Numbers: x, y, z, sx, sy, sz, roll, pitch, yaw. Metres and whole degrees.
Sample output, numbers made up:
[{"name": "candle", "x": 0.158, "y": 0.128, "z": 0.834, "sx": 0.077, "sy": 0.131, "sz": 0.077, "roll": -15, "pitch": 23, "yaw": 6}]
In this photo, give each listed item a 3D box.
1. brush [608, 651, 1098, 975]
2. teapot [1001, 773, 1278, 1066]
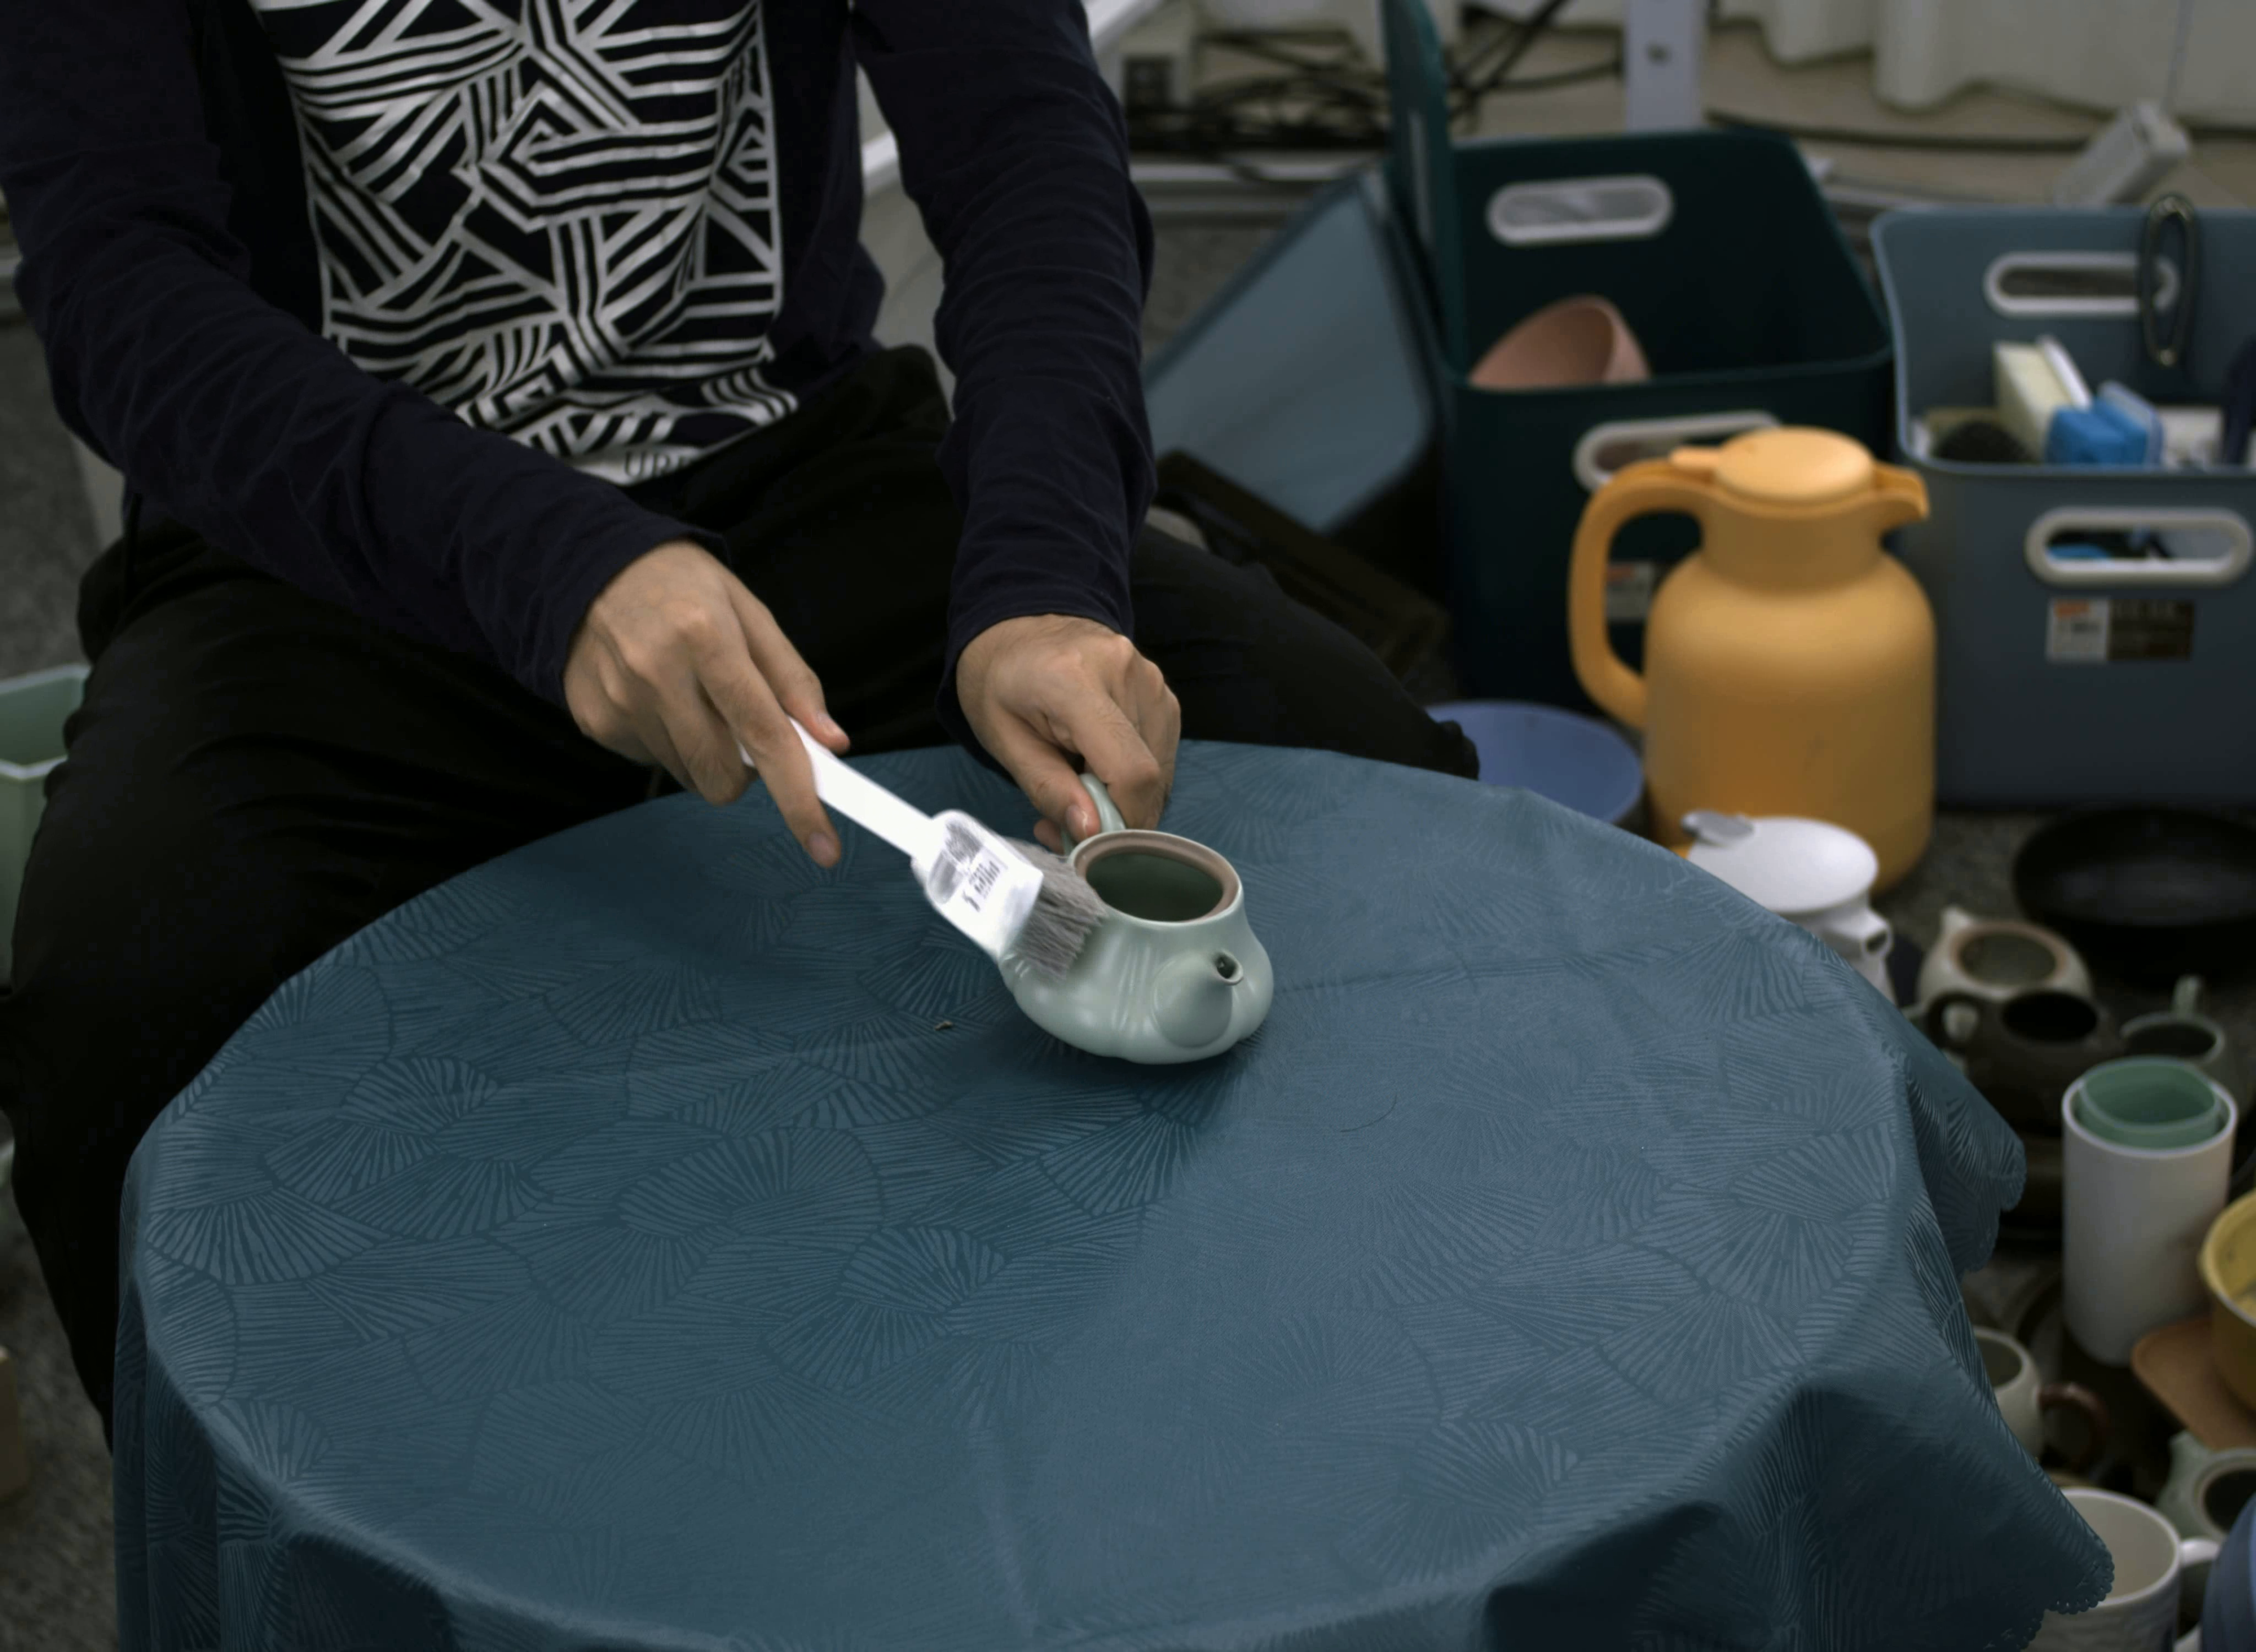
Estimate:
[{"name": "brush", "x": -0.096, "y": -0.007, "z": 1.970, "sx": 0.050, "sy": 0.034, "sz": 0.244, "roll": 18, "pitch": 9, "yaw": -46}, {"name": "teapot", "x": 0.004, "y": 0.037, "z": 1.945, "sx": 0.096, "sy": 0.060, "sz": 0.138, "roll": -9, "pitch": 37, "yaw": -25}]
